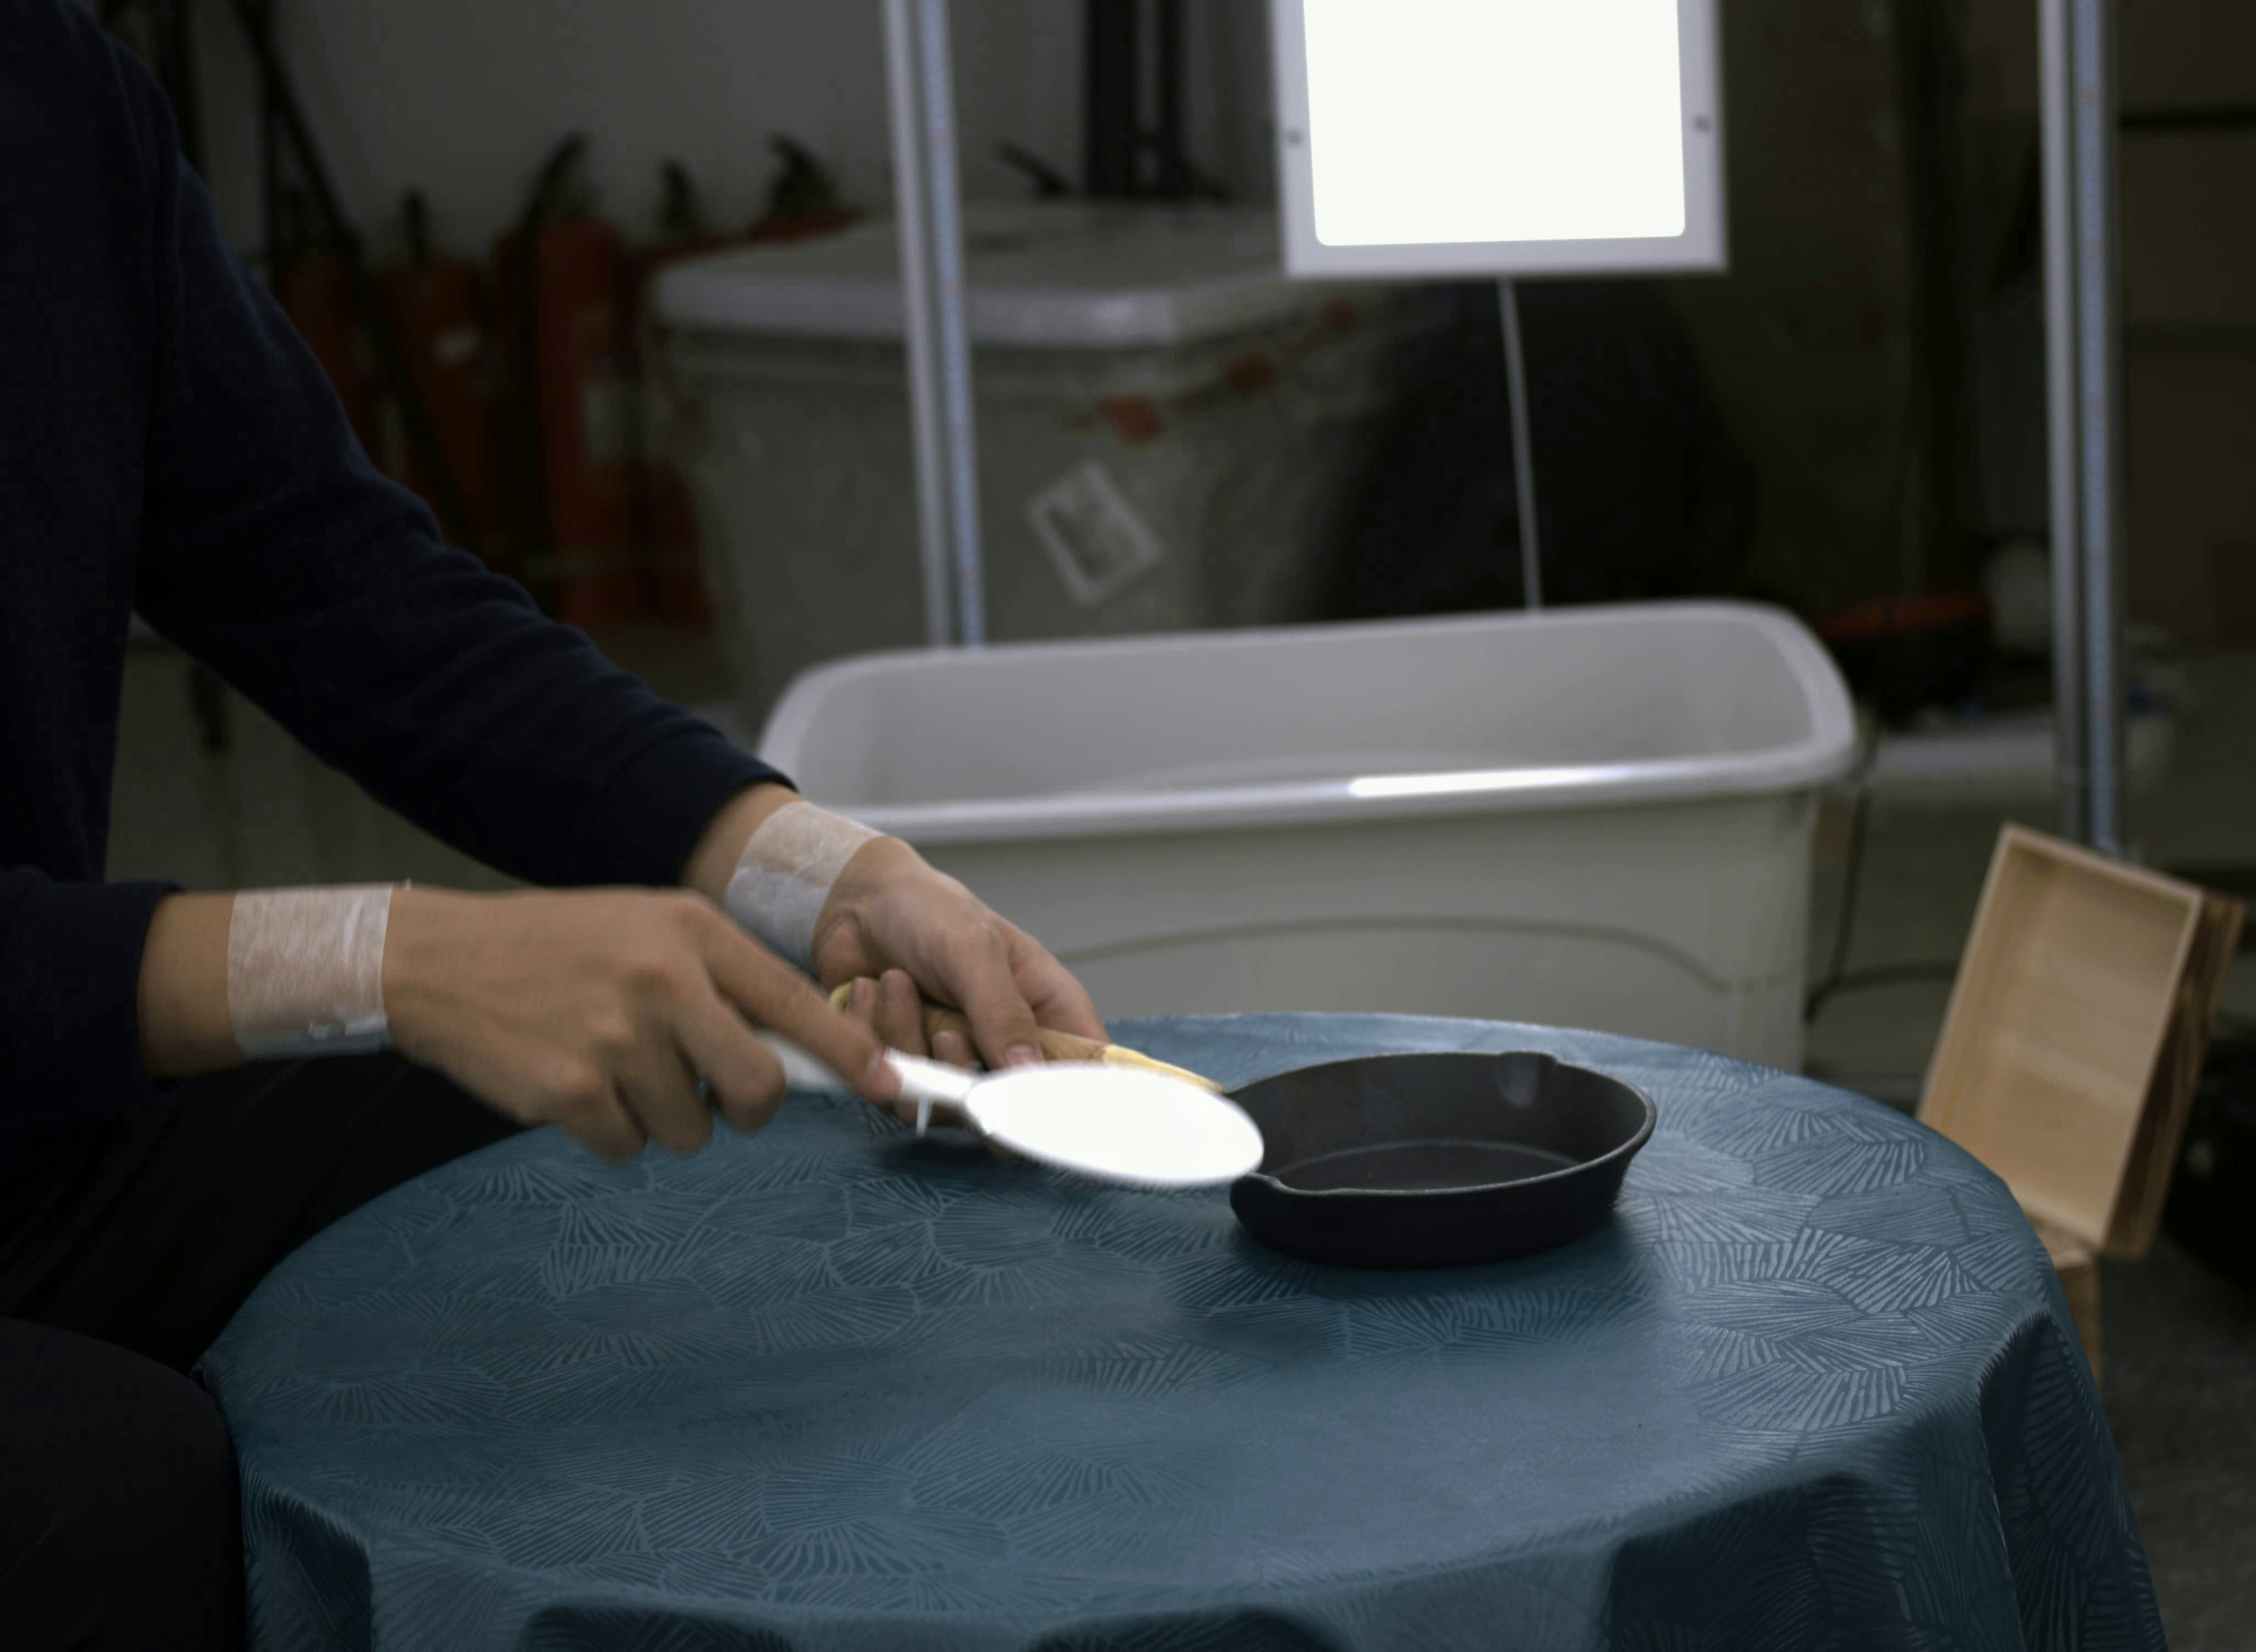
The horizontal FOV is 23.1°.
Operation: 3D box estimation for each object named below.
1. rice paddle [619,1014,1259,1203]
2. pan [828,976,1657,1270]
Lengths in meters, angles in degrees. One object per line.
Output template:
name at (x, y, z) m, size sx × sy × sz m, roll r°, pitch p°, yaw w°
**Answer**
rice paddle at (-0.059, 0.090, 1.749) m, size 0.205 × 0.029 × 0.068 m, roll 9°, pitch 26°, yaw 6°
pan at (0.030, 0.096, 1.893) m, size 0.331 × 0.050 × 0.165 m, roll 8°, pitch 19°, yaw 36°
